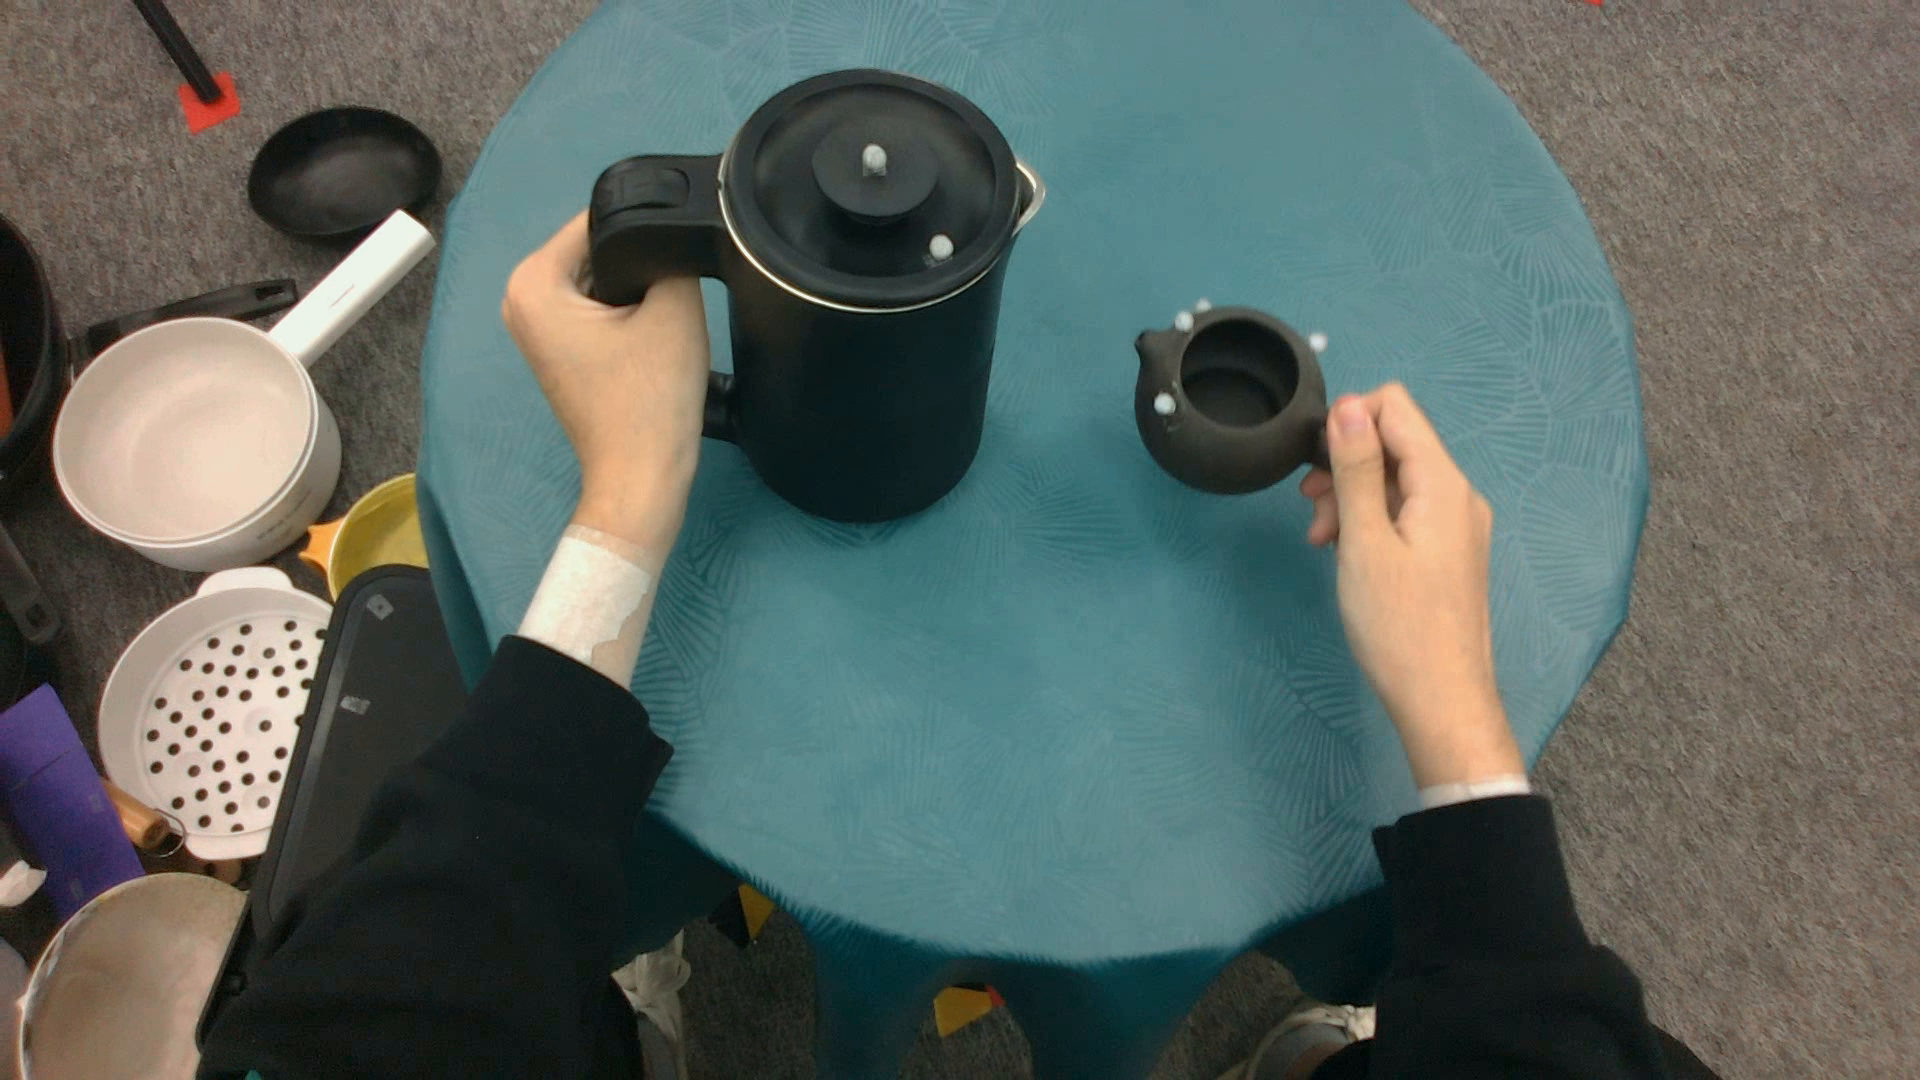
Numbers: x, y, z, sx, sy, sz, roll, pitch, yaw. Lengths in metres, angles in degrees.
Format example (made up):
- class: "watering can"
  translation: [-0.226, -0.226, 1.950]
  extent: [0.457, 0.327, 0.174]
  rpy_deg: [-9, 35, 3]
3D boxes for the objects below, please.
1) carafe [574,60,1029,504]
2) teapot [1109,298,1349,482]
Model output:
- class: "carafe"
  translation: [-0.069, -0.100, 0.561]
  extent: [0.172, 0.172, 0.115]
  rpy_deg: [-2, 66, -10]
- class: "teapot"
  translation: [0.117, -0.061, 0.602]
  extent: [0.114, 0.053, 0.083]
  rpy_deg: [29, 75, 16]
